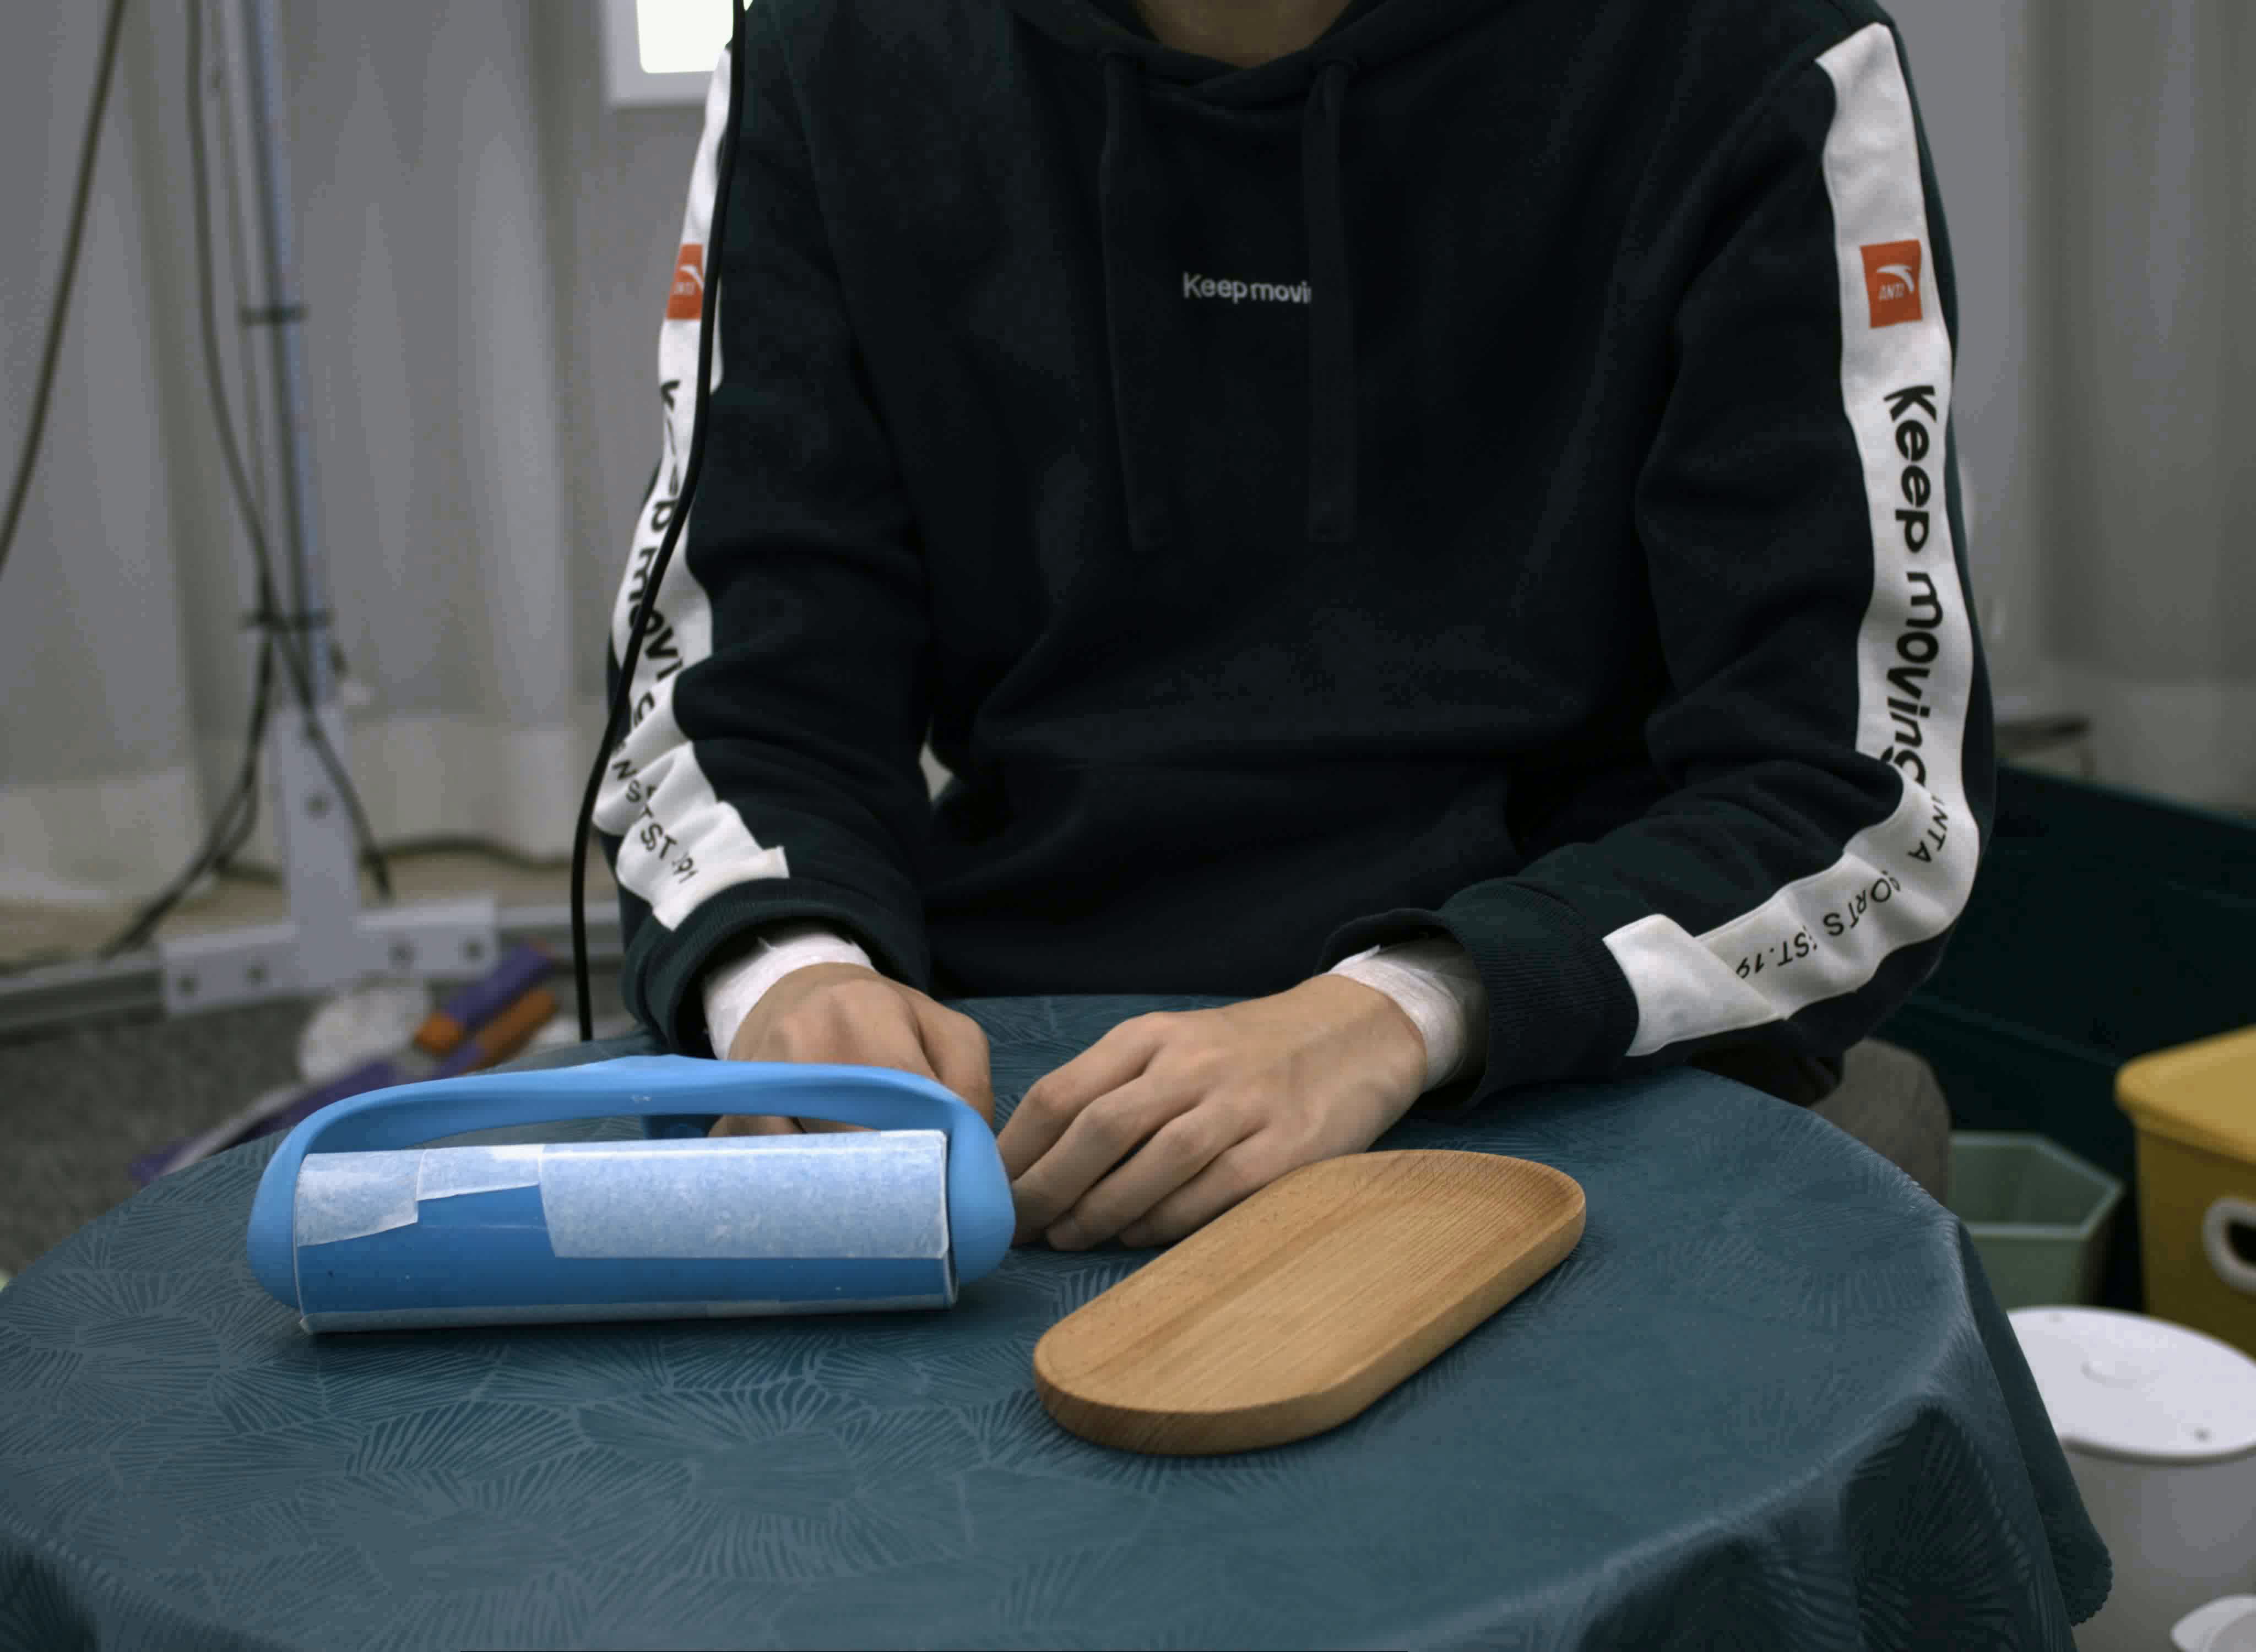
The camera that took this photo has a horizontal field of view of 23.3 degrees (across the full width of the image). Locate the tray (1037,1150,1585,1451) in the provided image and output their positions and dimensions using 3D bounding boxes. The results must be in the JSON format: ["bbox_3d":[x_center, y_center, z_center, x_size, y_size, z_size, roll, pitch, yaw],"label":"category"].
[{"bbox_3d":[0.056,0.136,1.593,0.102,0.020,0.231,6,16,28],"label":"tray"}]

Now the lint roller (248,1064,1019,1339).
[{"bbox_3d":[-0.148,0.104,1.676,0.228,0.067,0.181,-4,16,0],"label":"lint roller"}]
